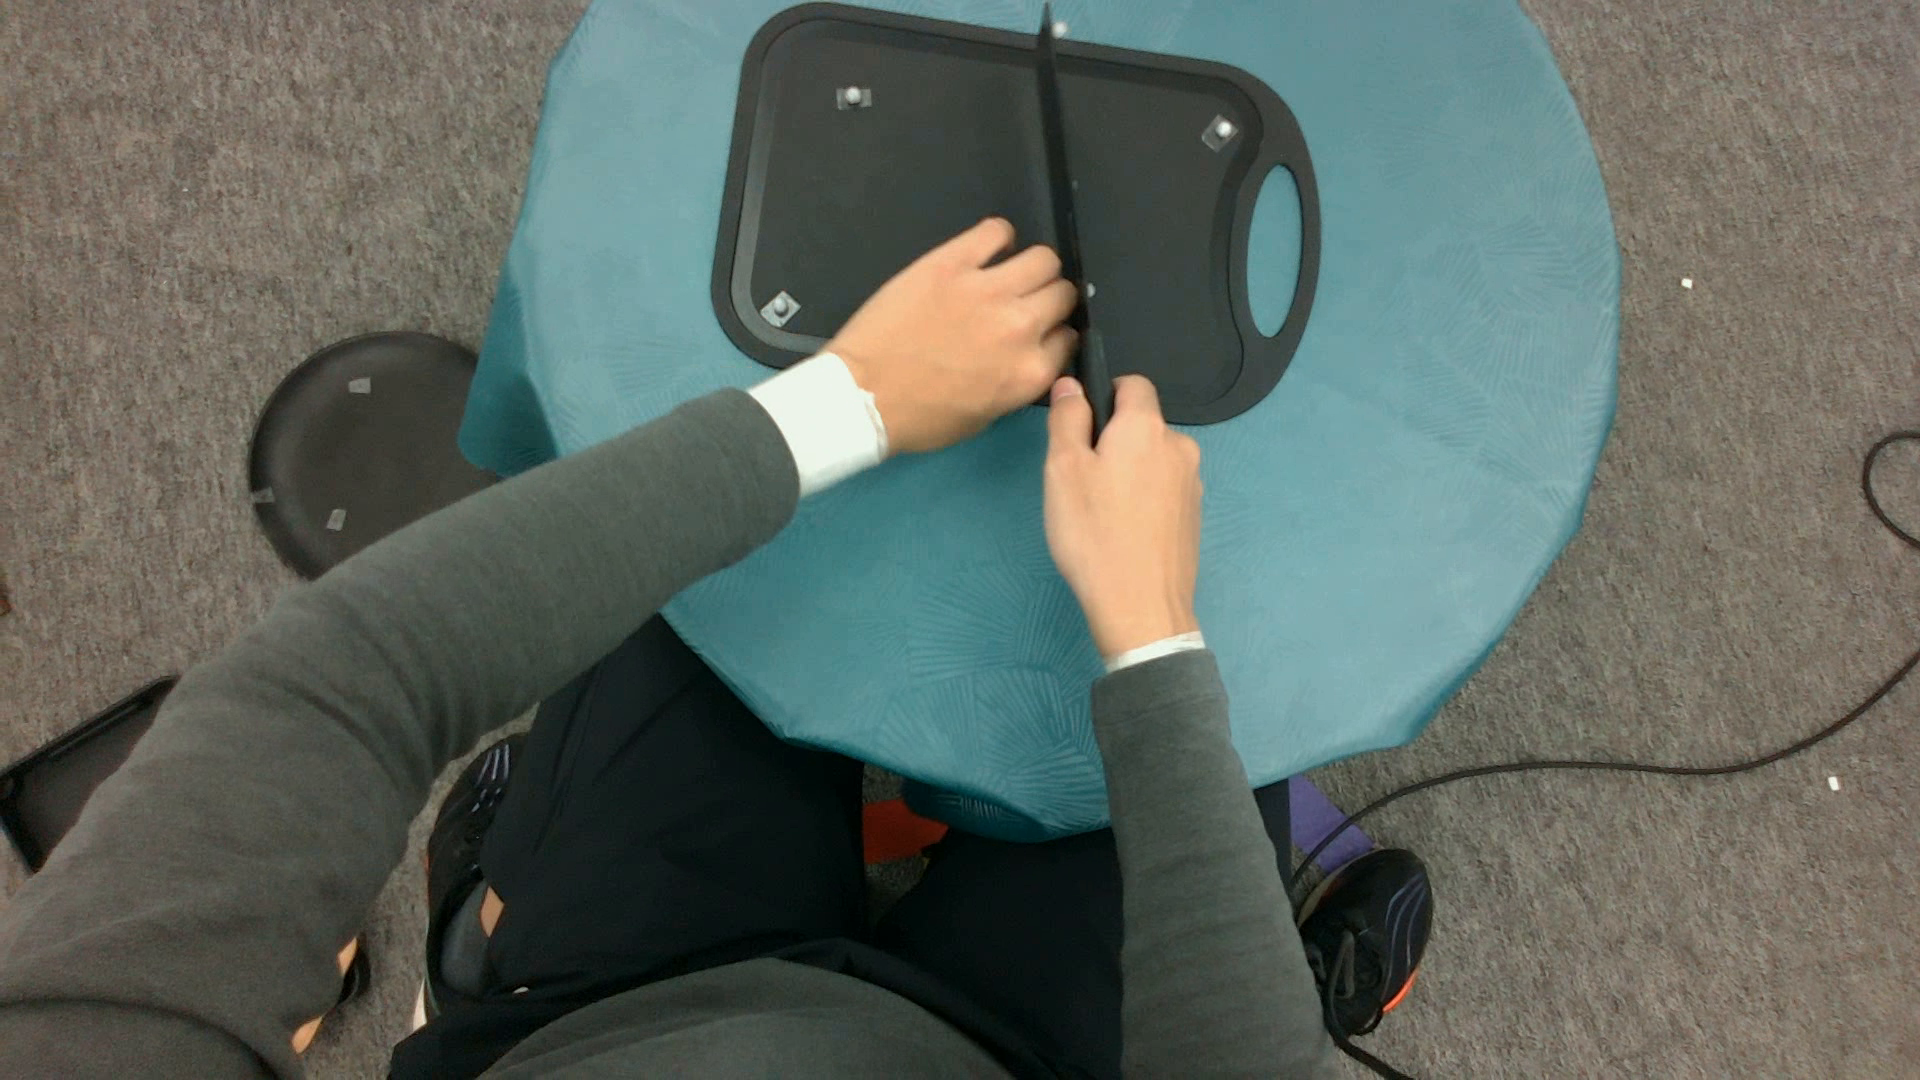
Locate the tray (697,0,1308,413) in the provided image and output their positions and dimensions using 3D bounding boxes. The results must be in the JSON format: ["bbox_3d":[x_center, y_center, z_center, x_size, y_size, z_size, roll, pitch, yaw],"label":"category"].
[{"bbox_3d":[0.031,-0.185,0.743,0.325,0.010,0.211,8,80,-4],"label":"tray"}]

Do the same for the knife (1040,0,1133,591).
[{"bbox_3d":[0.058,-0.125,0.683,0.021,0.081,0.303,-5,78,-4],"label":"knife"}]
